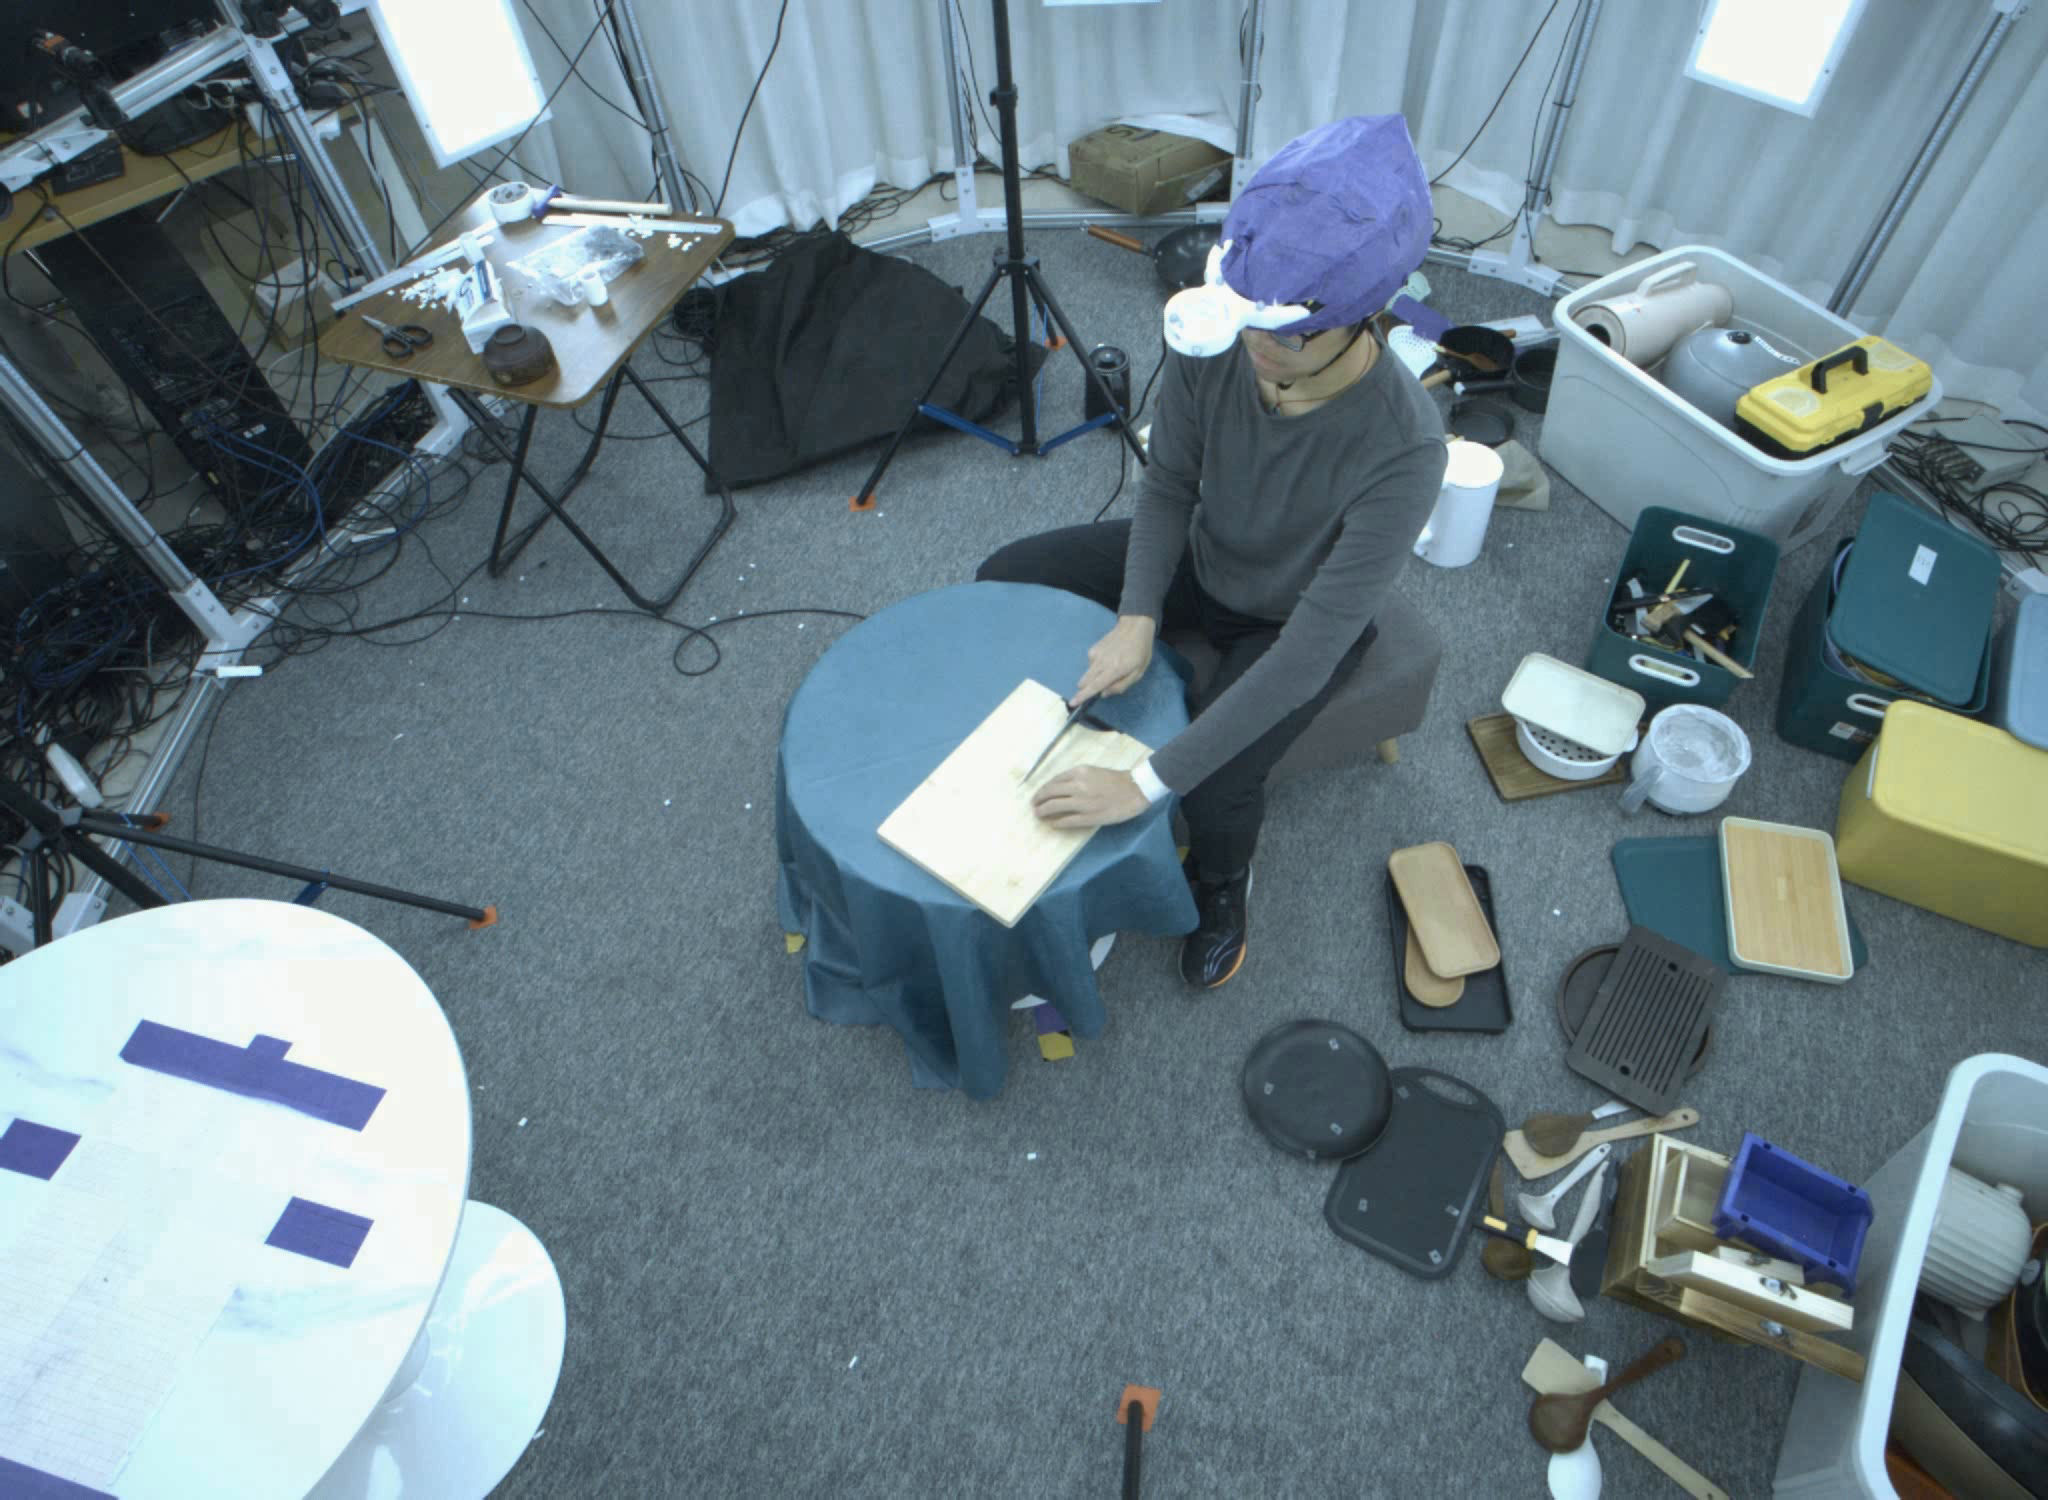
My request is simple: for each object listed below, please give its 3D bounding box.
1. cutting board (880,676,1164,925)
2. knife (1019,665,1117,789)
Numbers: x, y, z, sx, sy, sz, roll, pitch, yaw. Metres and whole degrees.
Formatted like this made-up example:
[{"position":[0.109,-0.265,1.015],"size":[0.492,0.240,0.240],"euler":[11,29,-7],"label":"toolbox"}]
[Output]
[{"position":[-0.001,0.060,1.743],"size":[0.247,0.024,0.350],"euler":[31,61,21],"label":"cutting board"},{"position":[0.063,-0.035,1.766],"size":[0.016,0.025,0.239],"euler":[32,71,17],"label":"knife"}]
